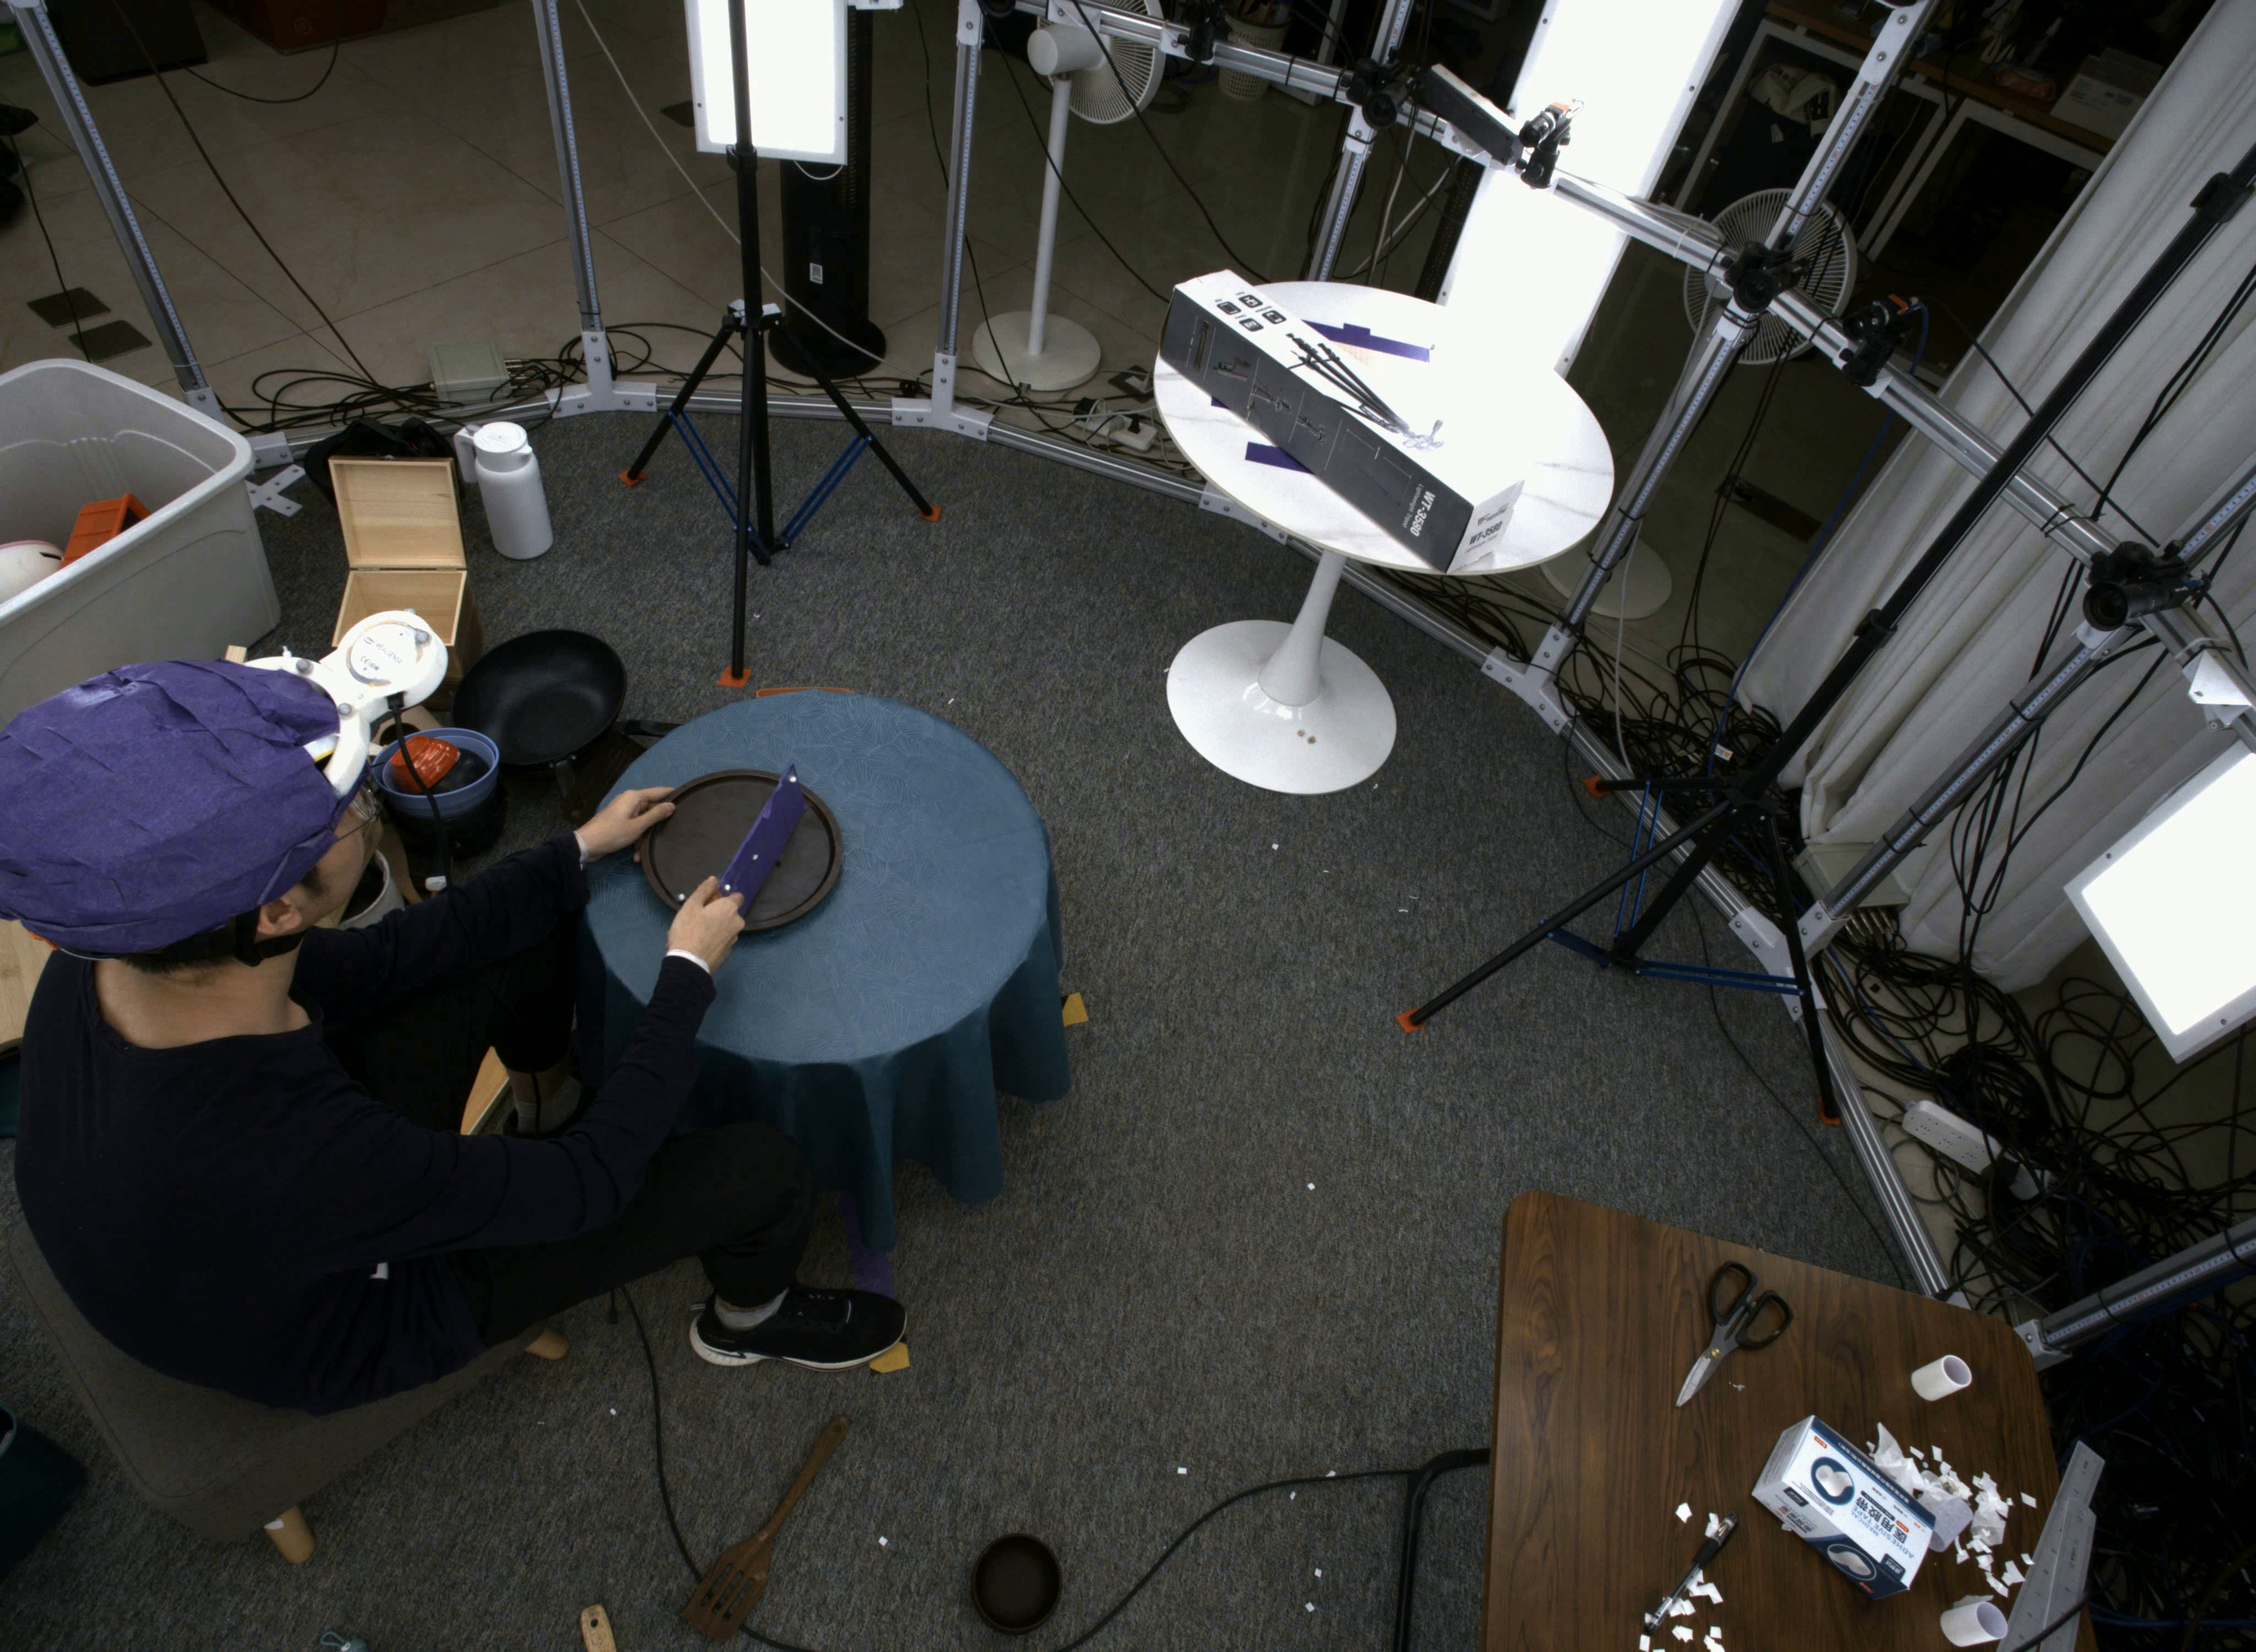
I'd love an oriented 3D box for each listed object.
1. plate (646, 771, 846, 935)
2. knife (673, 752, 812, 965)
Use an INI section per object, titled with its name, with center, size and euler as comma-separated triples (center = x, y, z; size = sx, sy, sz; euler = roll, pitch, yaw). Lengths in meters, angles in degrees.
[plate]
center = -0.493, 0.031, 1.671
size = 0.255, 0.029, 0.250
euler = 11, 53, -12
[knife]
center = -0.463, 0.053, 1.594
size = 0.031, 0.107, 0.312
euler = 12, 53, 13
